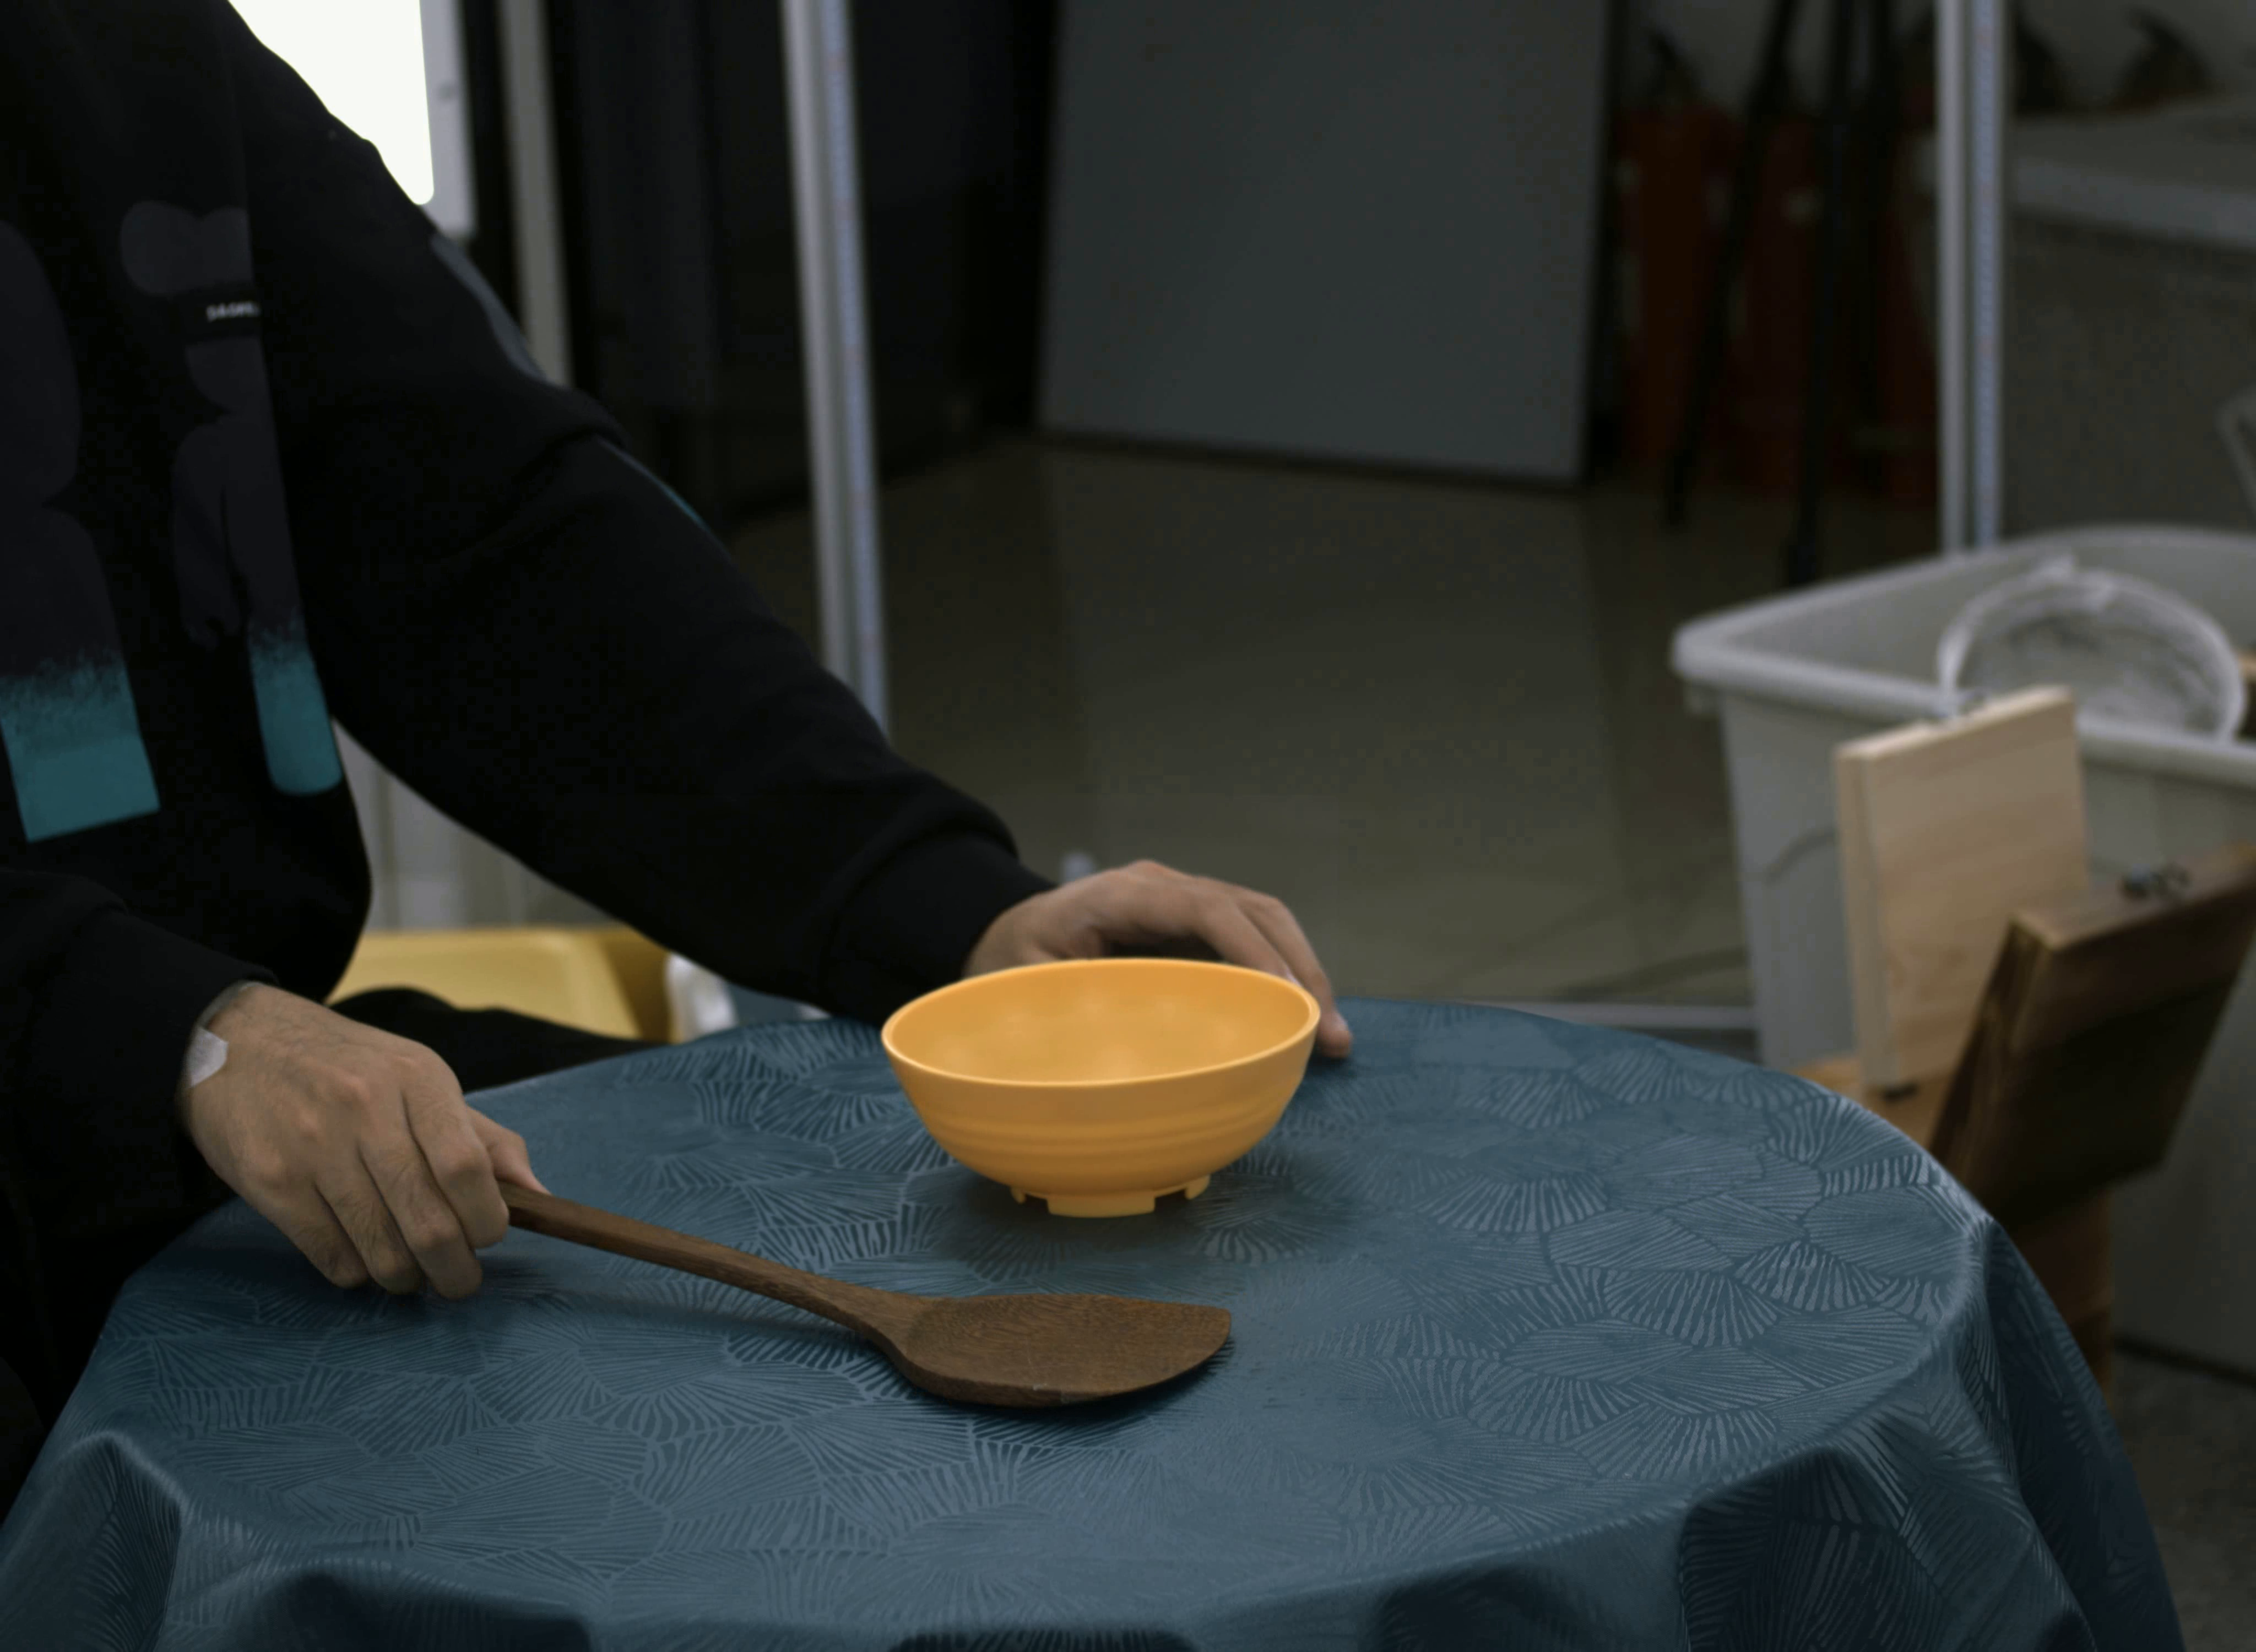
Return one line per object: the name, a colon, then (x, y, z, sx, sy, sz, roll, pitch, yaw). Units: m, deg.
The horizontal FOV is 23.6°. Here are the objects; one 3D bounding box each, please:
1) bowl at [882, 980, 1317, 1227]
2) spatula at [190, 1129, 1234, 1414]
bowl: (-0.008, 0.094, 1.769, 0.143, 0.061, 0.145, -3, 11, 0)
spatula: (-0.143, 0.134, 1.685, 0.388, 0.016, 0.094, 11, 18, 31)
